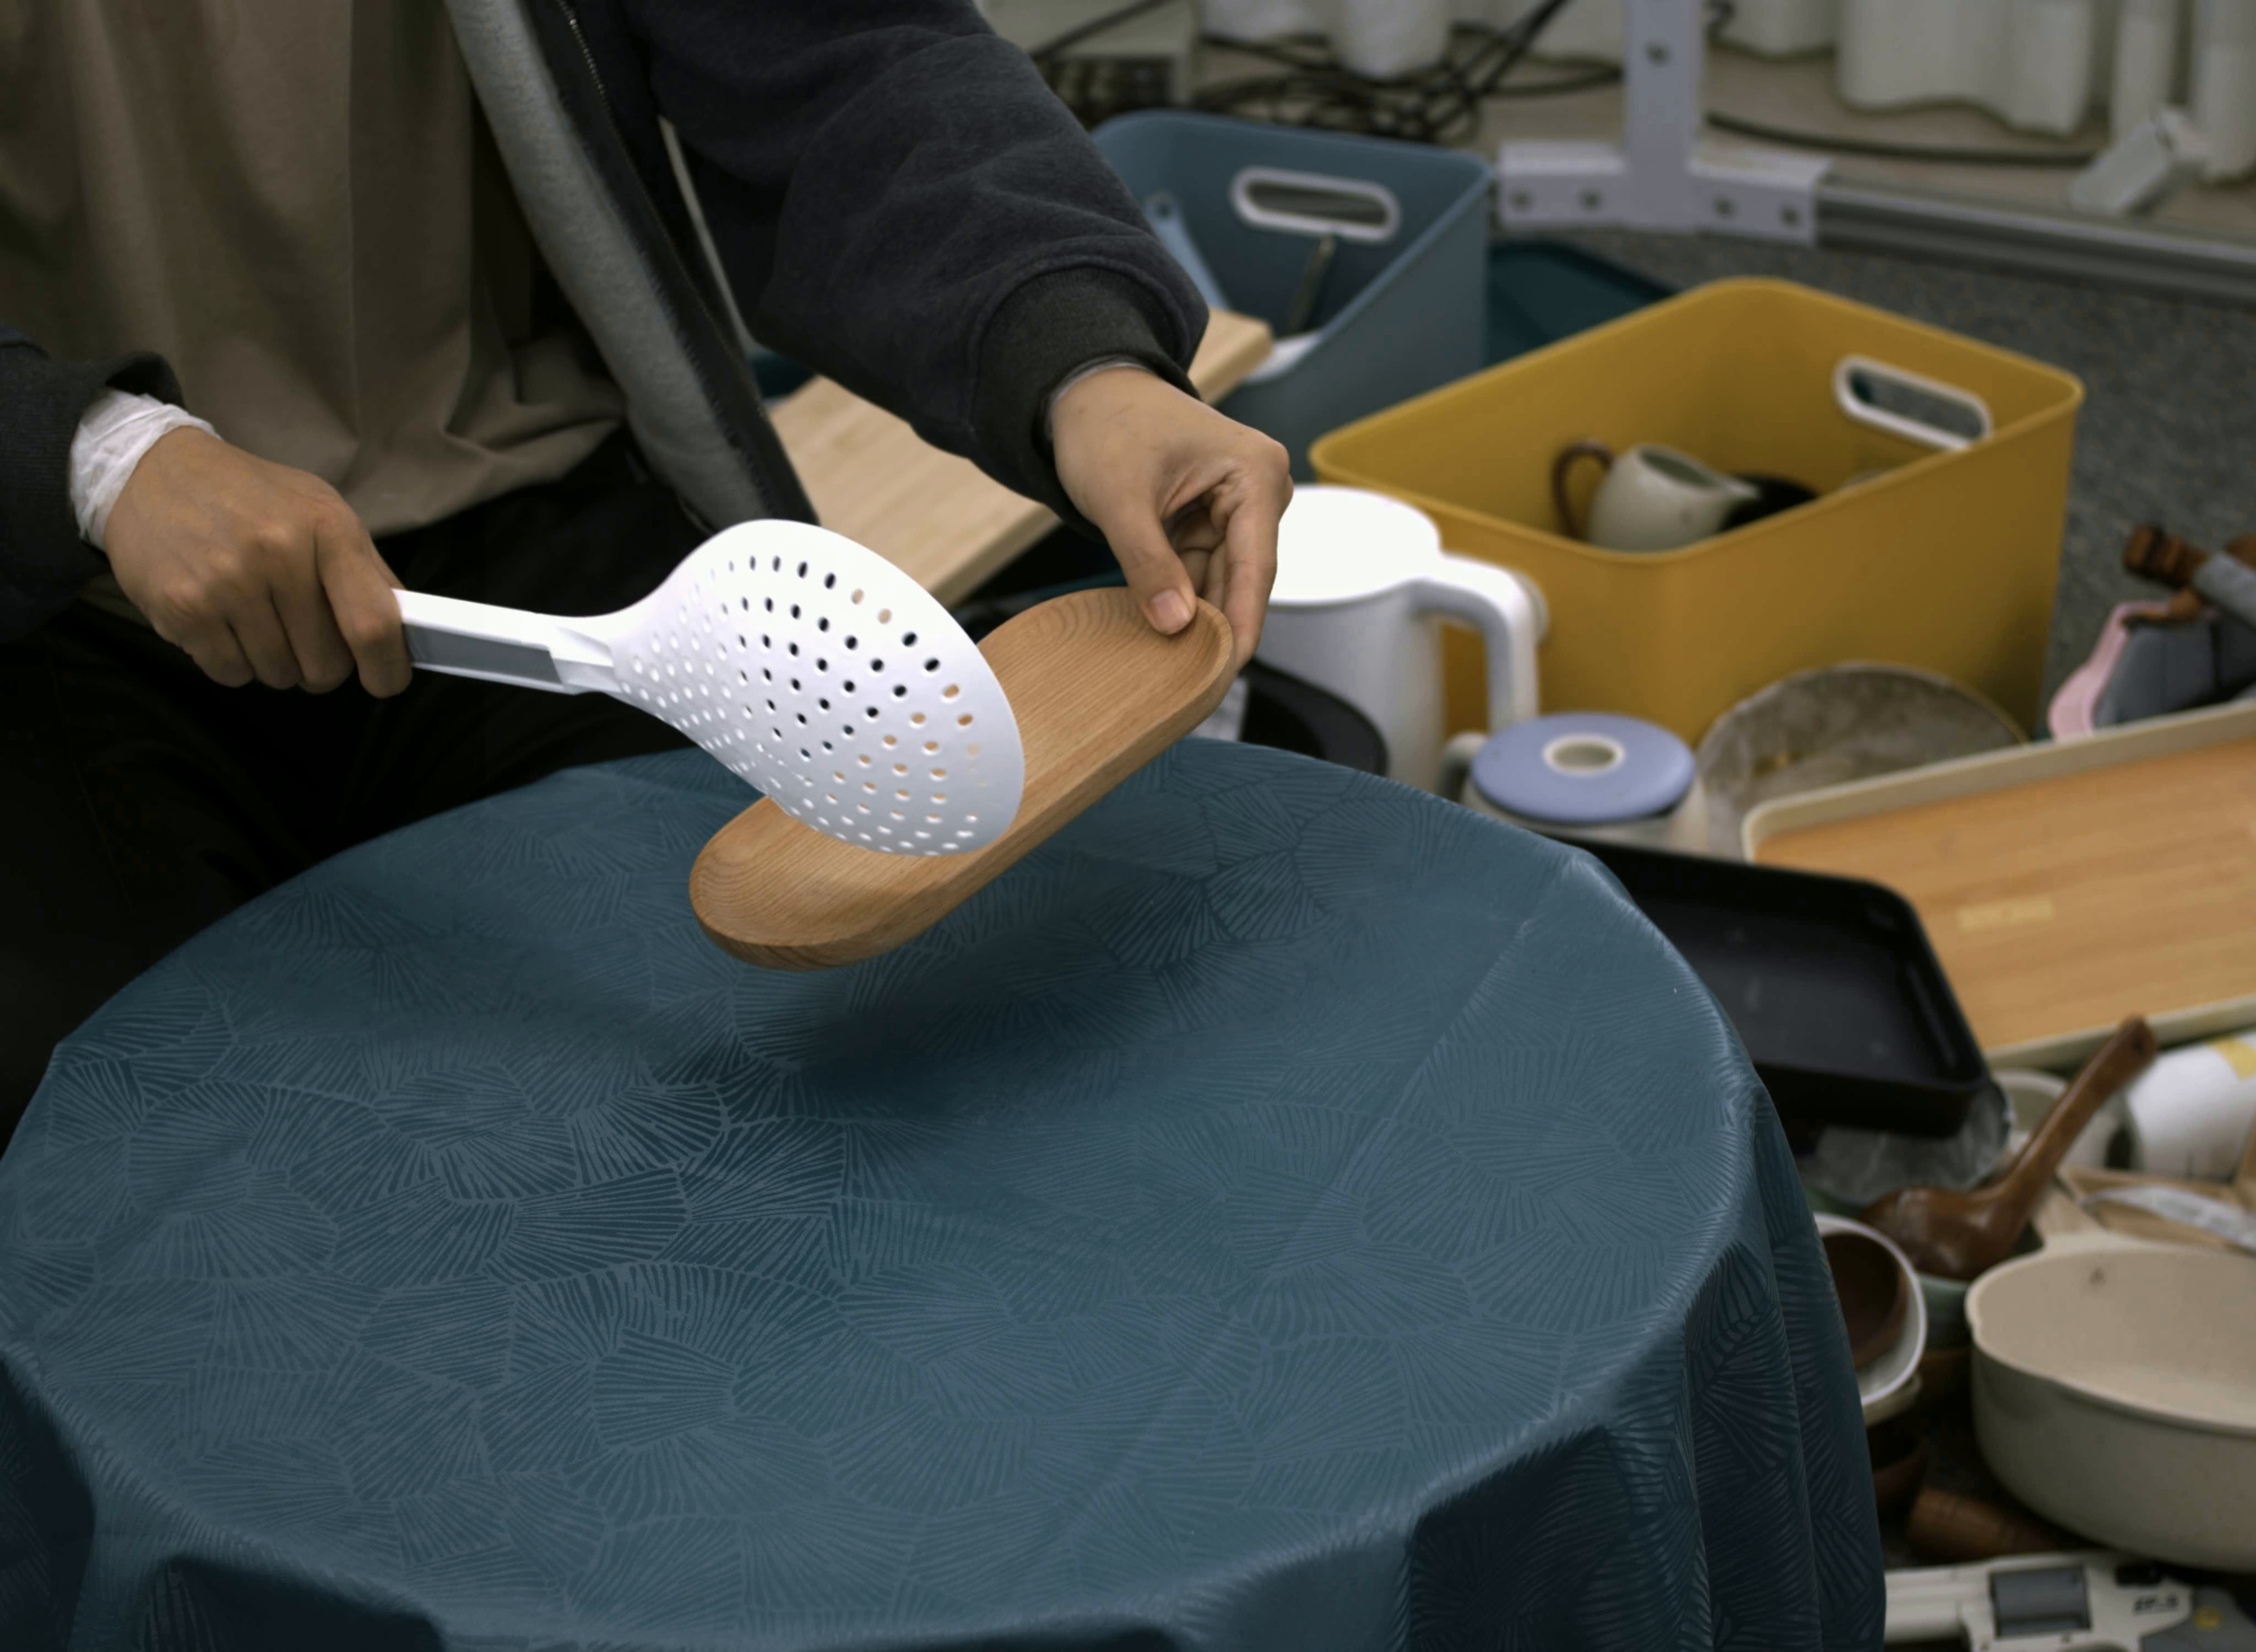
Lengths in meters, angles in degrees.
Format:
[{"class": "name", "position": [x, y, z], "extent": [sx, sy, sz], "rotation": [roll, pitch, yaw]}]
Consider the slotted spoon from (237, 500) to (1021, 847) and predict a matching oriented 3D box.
[{"class": "slotted spoon", "position": [-0.179, -0.059, 1.919], "extent": [0.348, 0.134, 0.046], "rotation": [13, 42, 41]}]

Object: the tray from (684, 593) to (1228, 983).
[{"class": "tray", "position": [-0.057, -0.015, 1.957], "extent": [0.101, 0.020, 0.234], "rotation": [18, 46, 41]}]
